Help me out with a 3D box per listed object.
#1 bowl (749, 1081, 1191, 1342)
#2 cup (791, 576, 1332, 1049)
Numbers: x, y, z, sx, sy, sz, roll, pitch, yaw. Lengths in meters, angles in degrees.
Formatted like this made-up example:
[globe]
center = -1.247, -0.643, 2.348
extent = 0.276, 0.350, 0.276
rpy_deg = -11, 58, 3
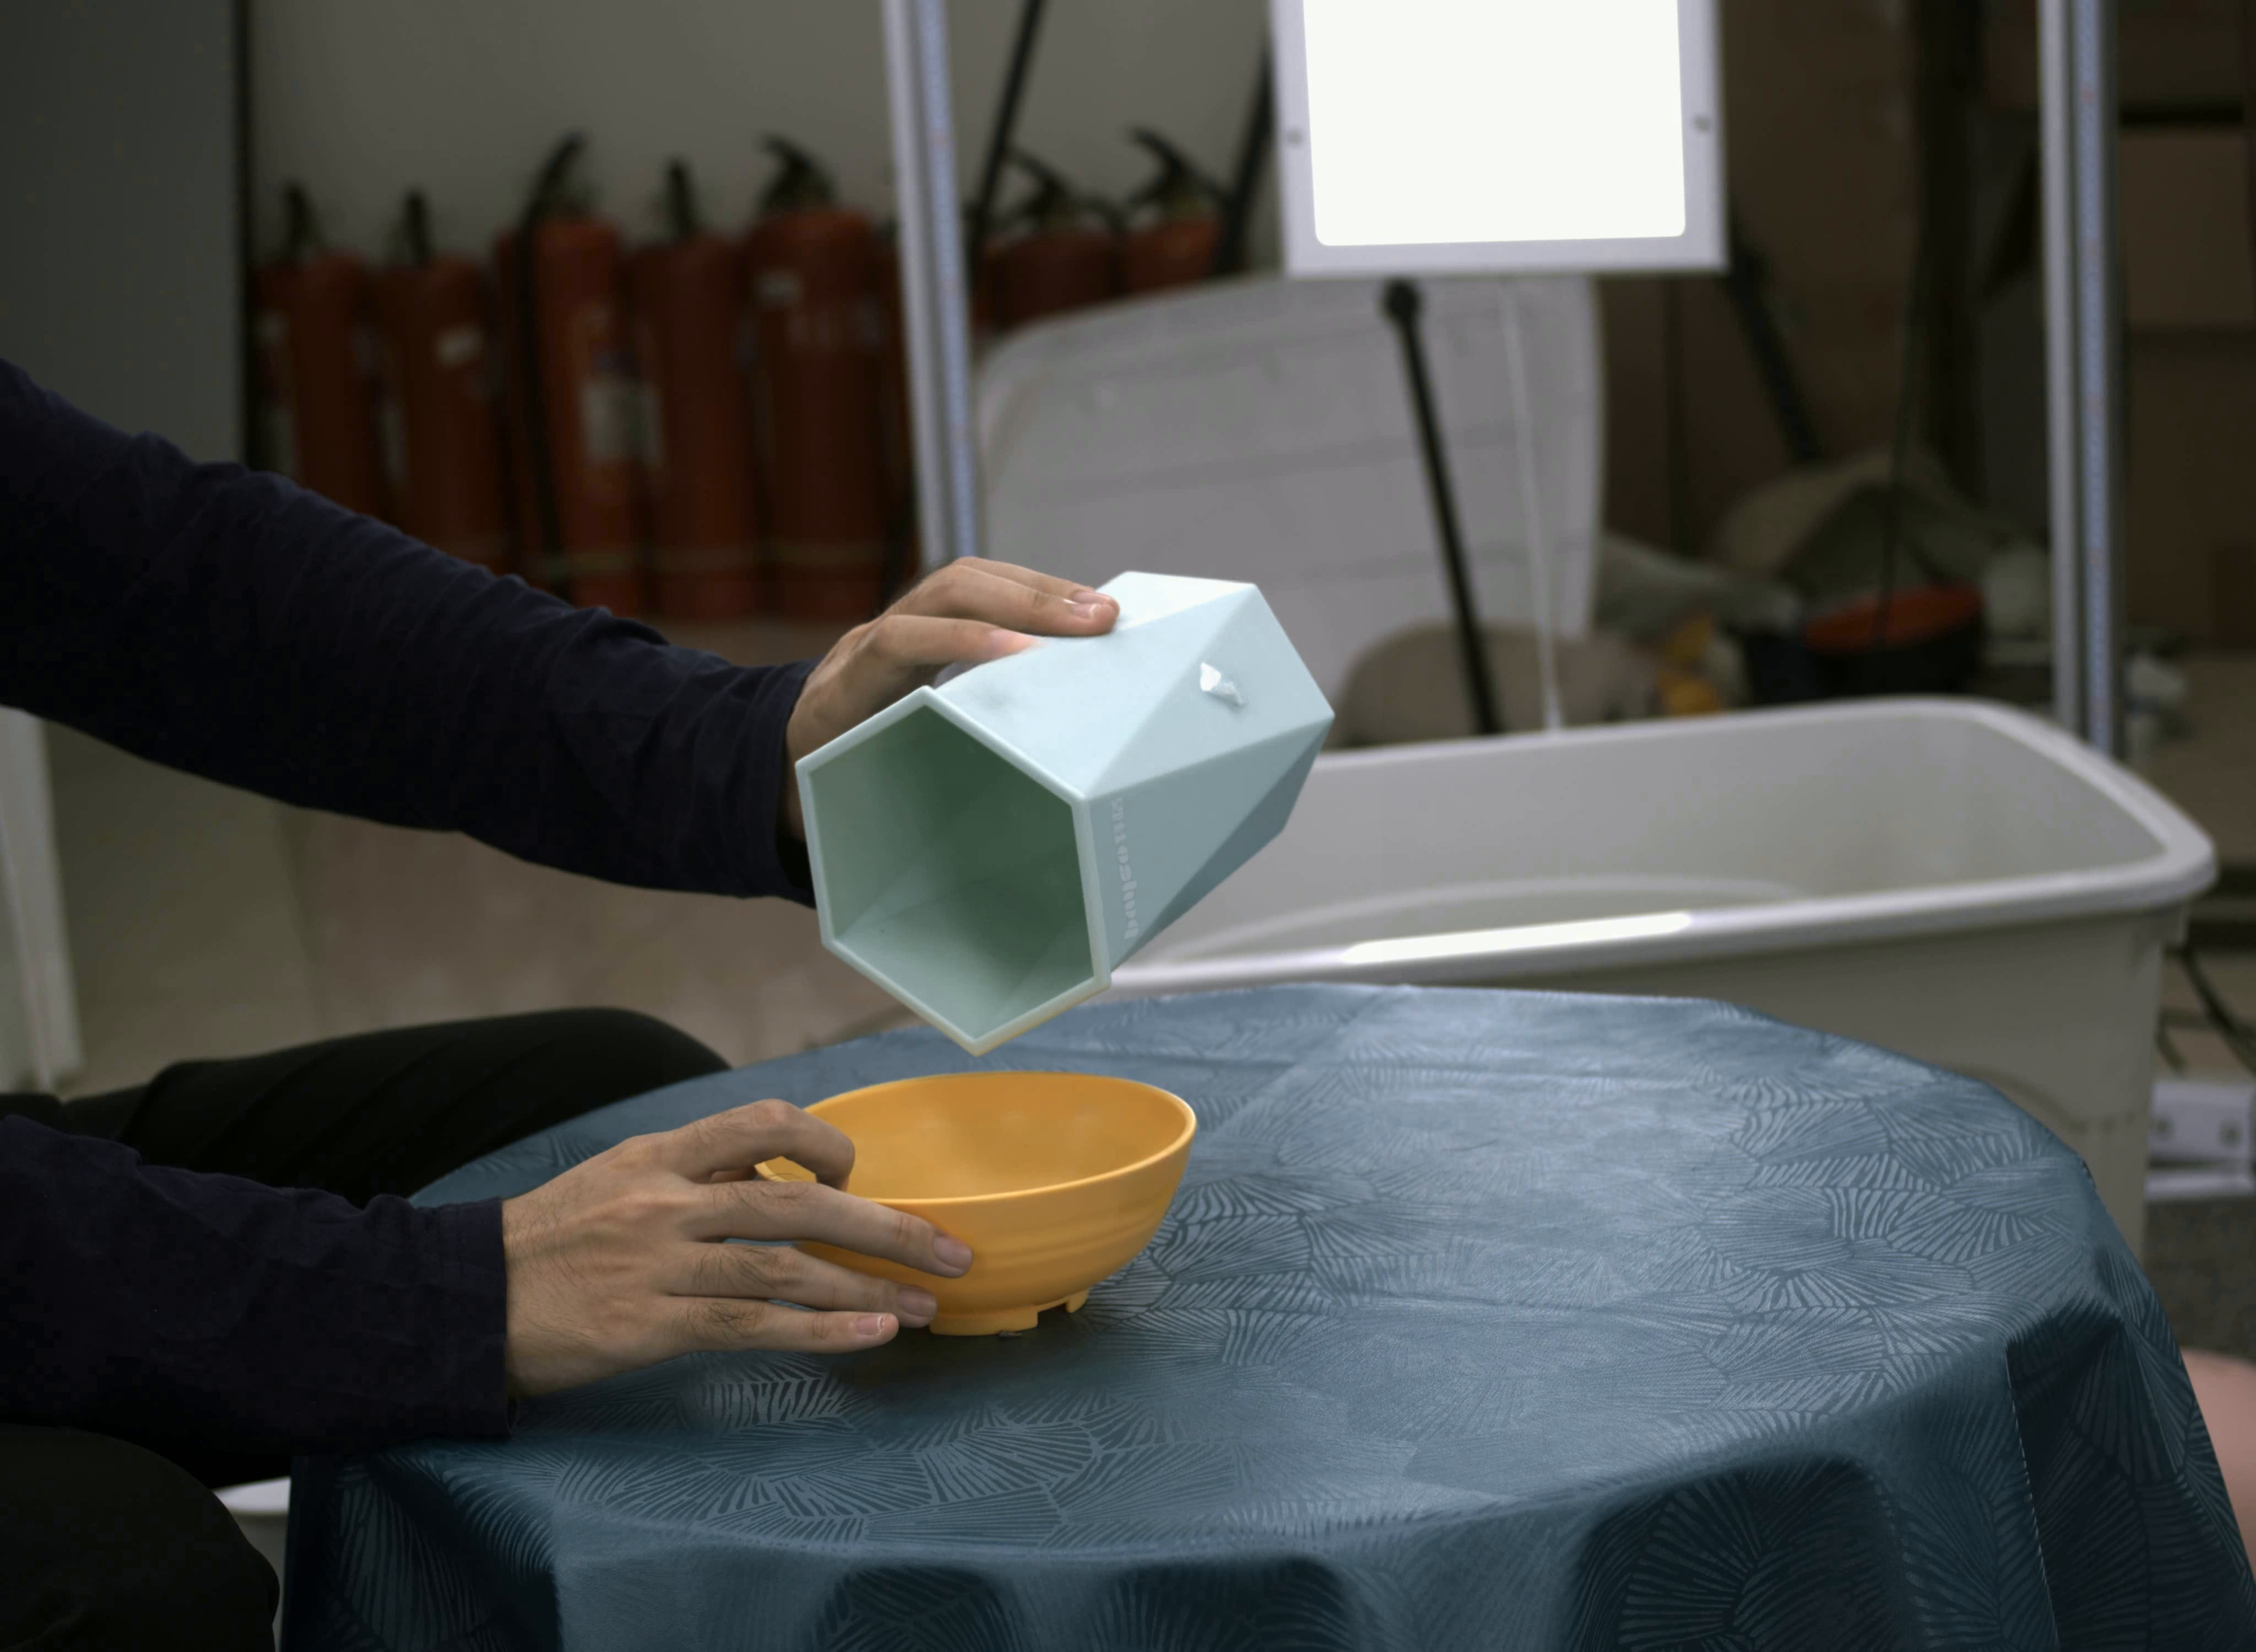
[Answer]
[bowl]
center = -0.048, 0.129, 1.789
extent = 0.145, 0.060, 0.145
rpy_deg = -7, 12, 0
[cup]
center = -0.016, -0.015, 1.842
extent = 0.117, 0.131, 0.159
rpy_deg = 5, 24, 36
